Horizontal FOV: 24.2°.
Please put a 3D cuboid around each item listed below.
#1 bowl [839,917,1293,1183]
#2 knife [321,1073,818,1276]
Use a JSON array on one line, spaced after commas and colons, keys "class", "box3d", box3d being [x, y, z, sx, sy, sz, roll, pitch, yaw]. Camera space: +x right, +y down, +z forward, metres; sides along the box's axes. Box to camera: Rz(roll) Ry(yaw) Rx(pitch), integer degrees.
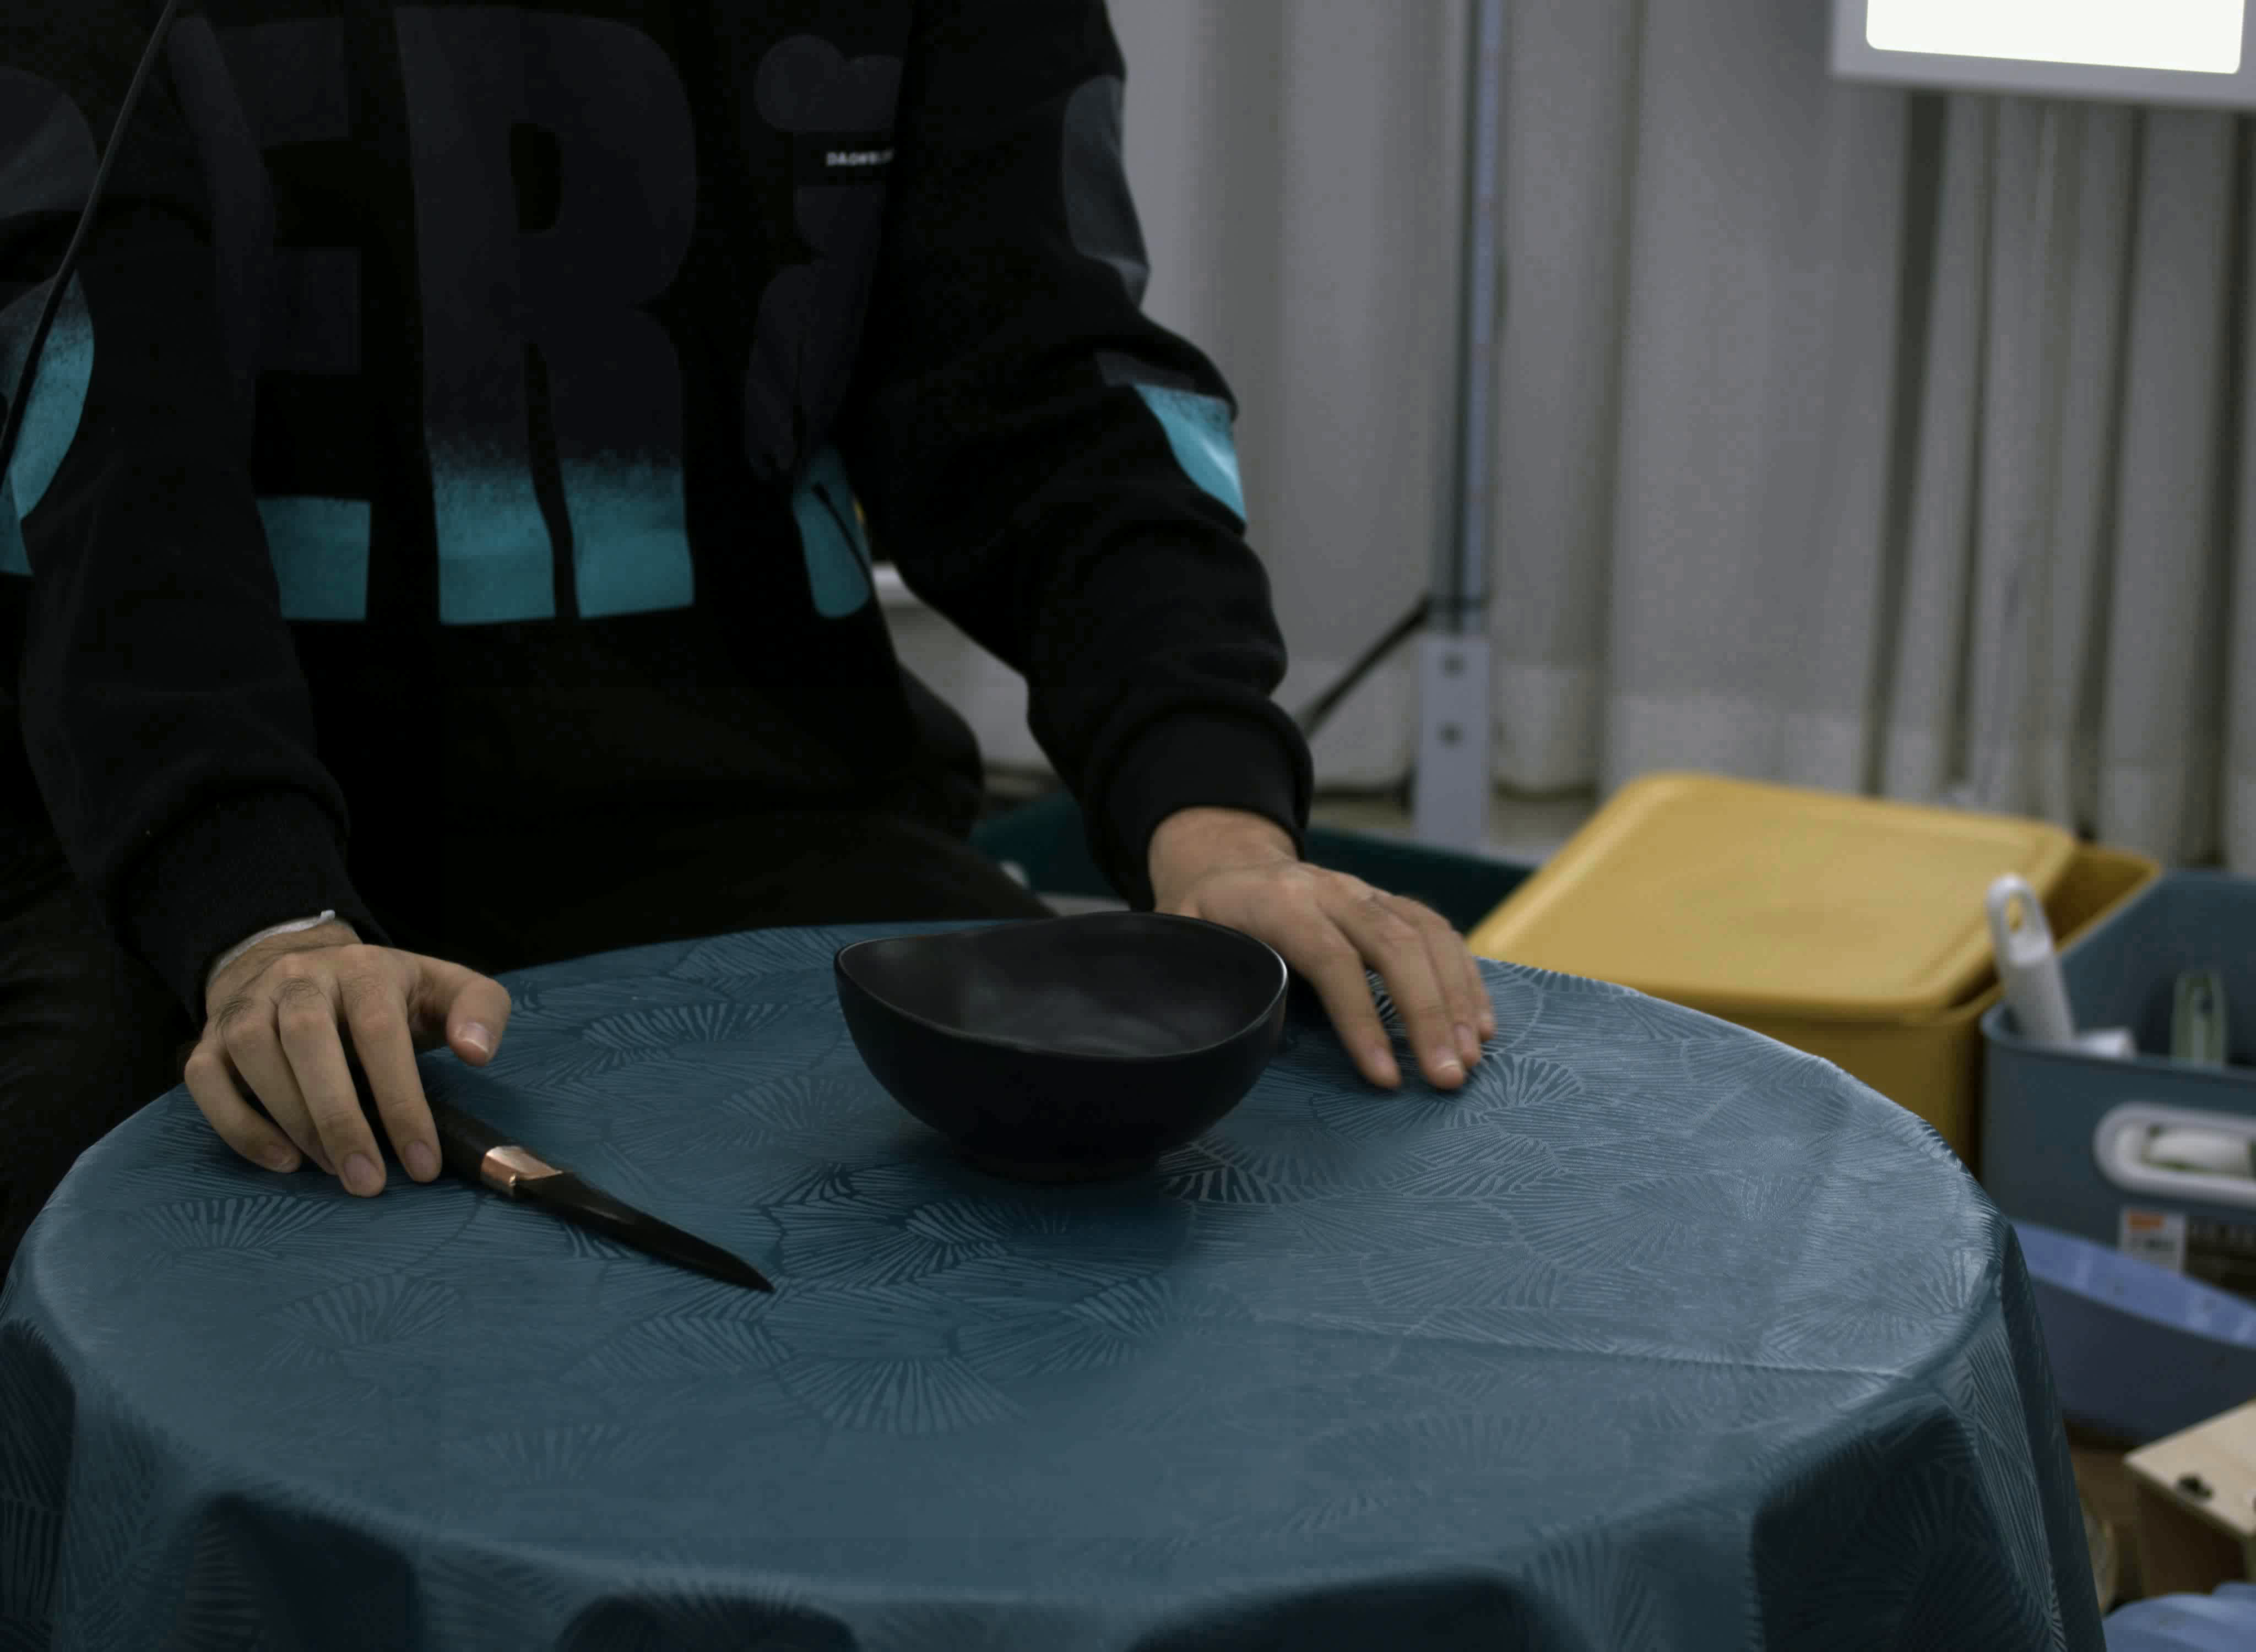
[{"class": "bowl", "box3d": [-0.021, 0.072, 1.647, 0.138, 0.067, 0.168, -6, 15, -25]}, {"class": "knife", "box3d": [-0.174, 0.108, 1.611, 0.026, 0.017, 0.222, -18, 25, -42]}]
